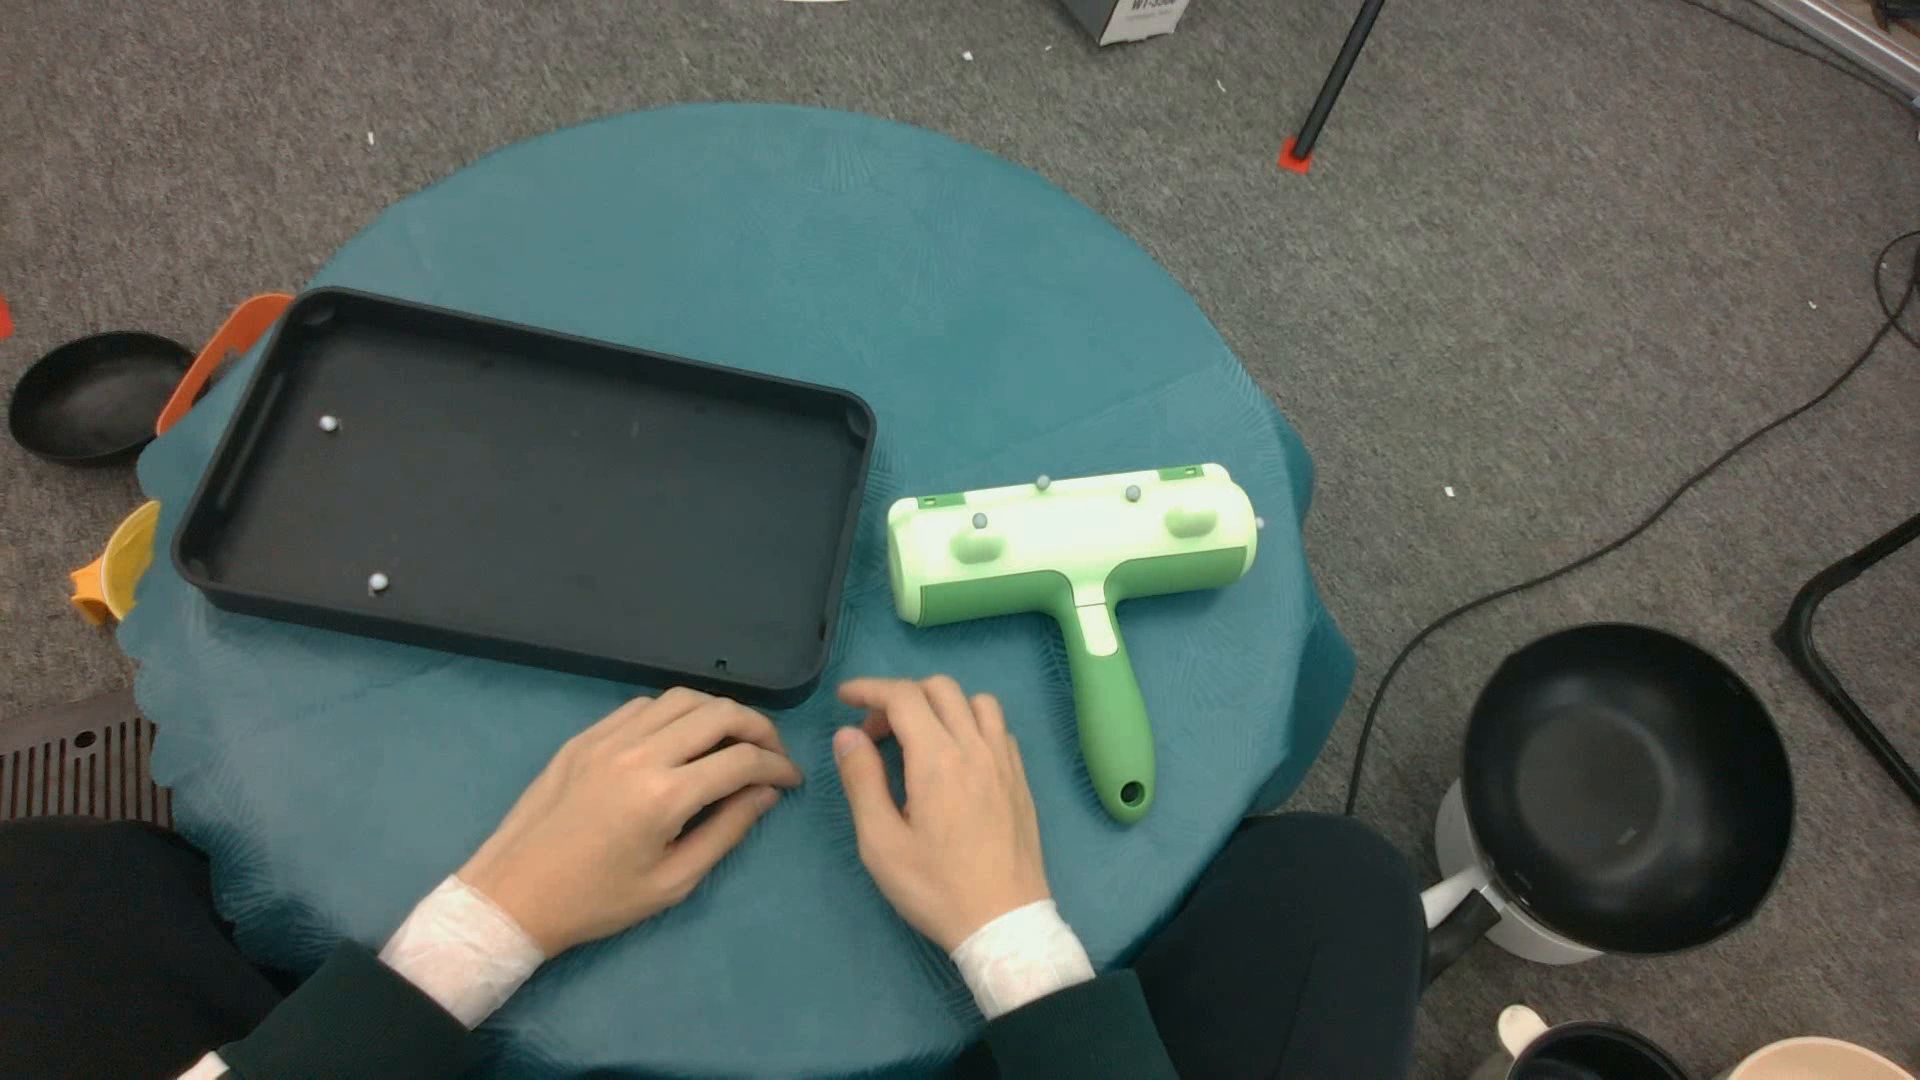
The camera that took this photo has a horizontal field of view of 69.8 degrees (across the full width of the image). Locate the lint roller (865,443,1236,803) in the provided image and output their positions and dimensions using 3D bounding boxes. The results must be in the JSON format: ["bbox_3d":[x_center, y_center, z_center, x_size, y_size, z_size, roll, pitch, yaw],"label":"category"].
[{"bbox_3d":[0.063,0.037,0.704,0.199,0.082,0.184,-8,60,-14],"label":"lint roller"}]

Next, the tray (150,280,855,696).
[{"bbox_3d":[-0.223,-0.028,0.715,0.318,0.037,0.185,10,61,-4],"label":"tray"}]
